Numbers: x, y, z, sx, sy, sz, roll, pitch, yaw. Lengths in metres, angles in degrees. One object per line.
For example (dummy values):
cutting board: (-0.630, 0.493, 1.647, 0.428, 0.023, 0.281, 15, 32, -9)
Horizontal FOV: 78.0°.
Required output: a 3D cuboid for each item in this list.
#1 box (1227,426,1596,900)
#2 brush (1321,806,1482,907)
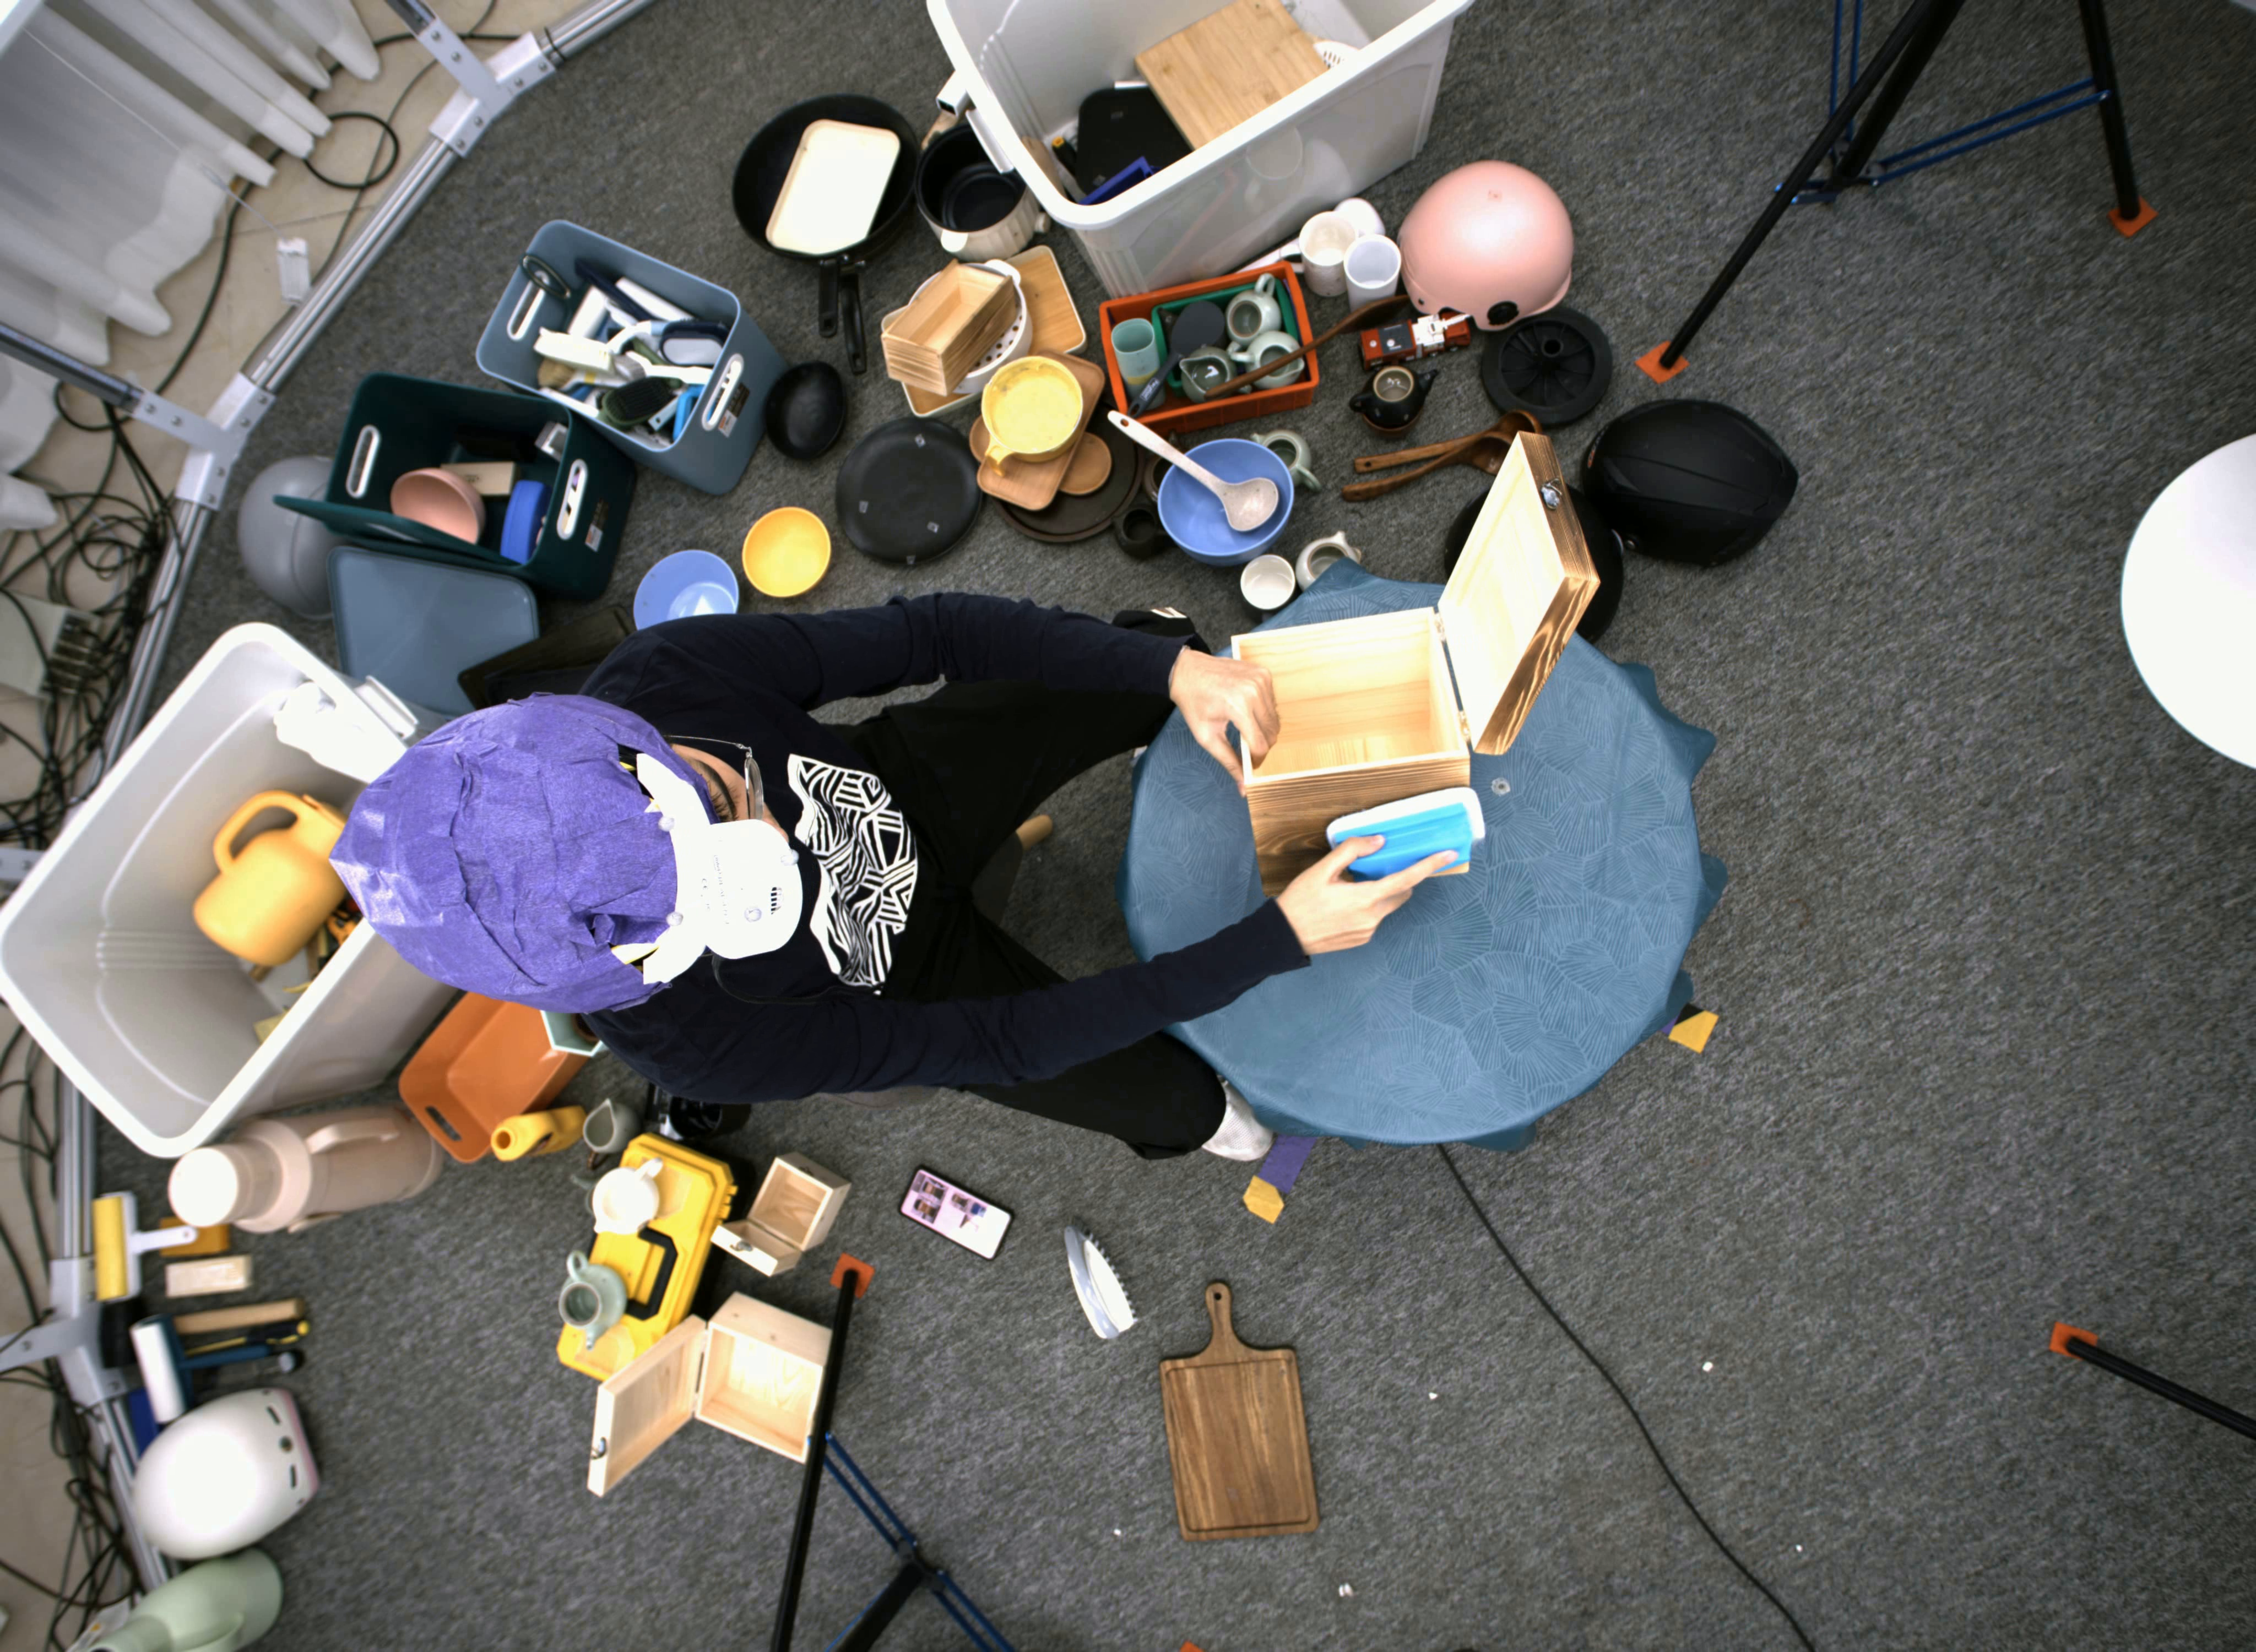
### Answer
box: (0.248, -0.142, 1.266, 0.323, 0.384, 0.203, -7, 50, 8)
brush: (0.253, 0.034, 1.267, 0.145, 0.085, 0.054, -18, 44, 14)
